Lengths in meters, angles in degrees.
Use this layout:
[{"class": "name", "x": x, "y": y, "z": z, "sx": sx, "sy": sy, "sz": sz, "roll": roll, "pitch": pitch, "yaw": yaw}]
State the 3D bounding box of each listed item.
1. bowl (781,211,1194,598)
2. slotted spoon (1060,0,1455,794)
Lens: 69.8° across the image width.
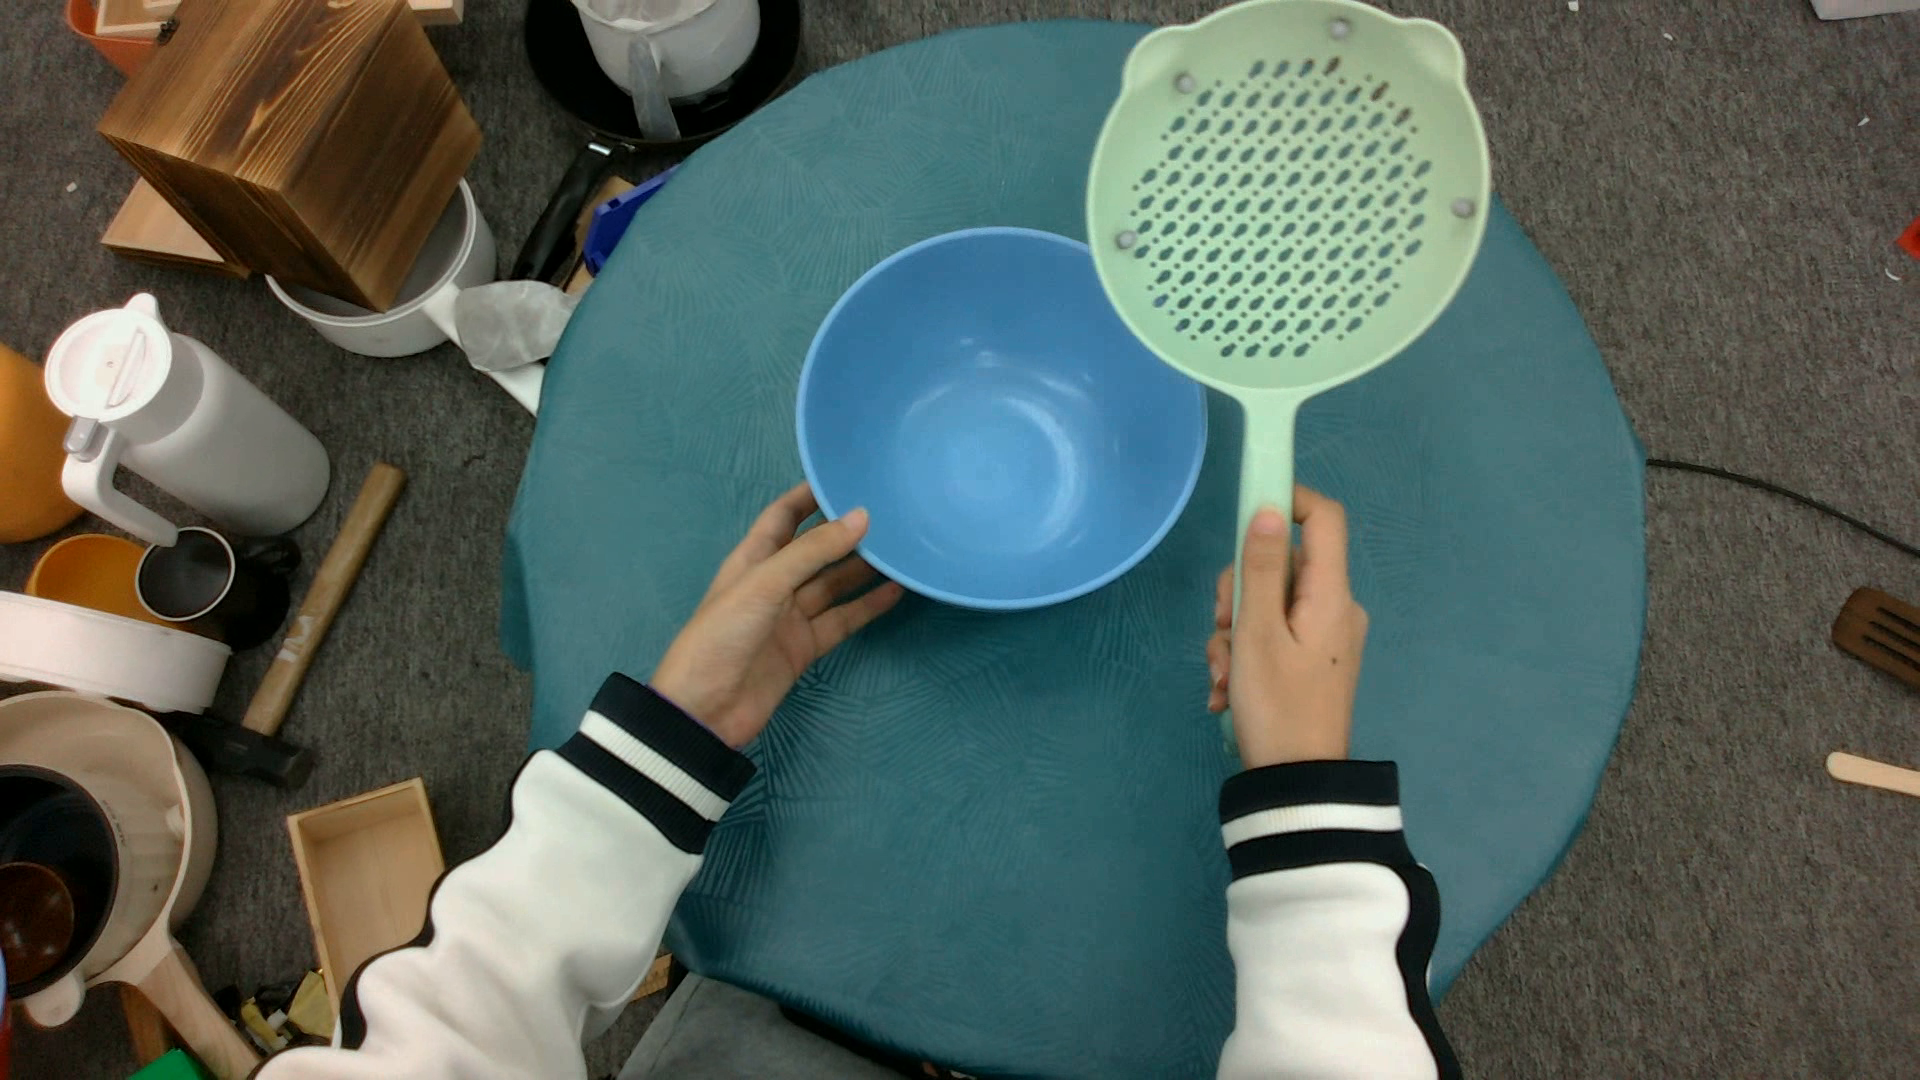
[{"class": "bowl", "x": 0.012, "y": -0.056, "z": 0.696, "sx": 0.196, "sy": 0.095, "sz": 0.197, "roll": 1, "pitch": 73, "yaw": -2}, {"class": "slotted spoon", "x": 0.130, "y": -0.060, "z": 0.622, "sx": 0.169, "sy": 0.075, "sz": 0.359, "roll": 2, "pitch": 88, "yaw": 12}]
